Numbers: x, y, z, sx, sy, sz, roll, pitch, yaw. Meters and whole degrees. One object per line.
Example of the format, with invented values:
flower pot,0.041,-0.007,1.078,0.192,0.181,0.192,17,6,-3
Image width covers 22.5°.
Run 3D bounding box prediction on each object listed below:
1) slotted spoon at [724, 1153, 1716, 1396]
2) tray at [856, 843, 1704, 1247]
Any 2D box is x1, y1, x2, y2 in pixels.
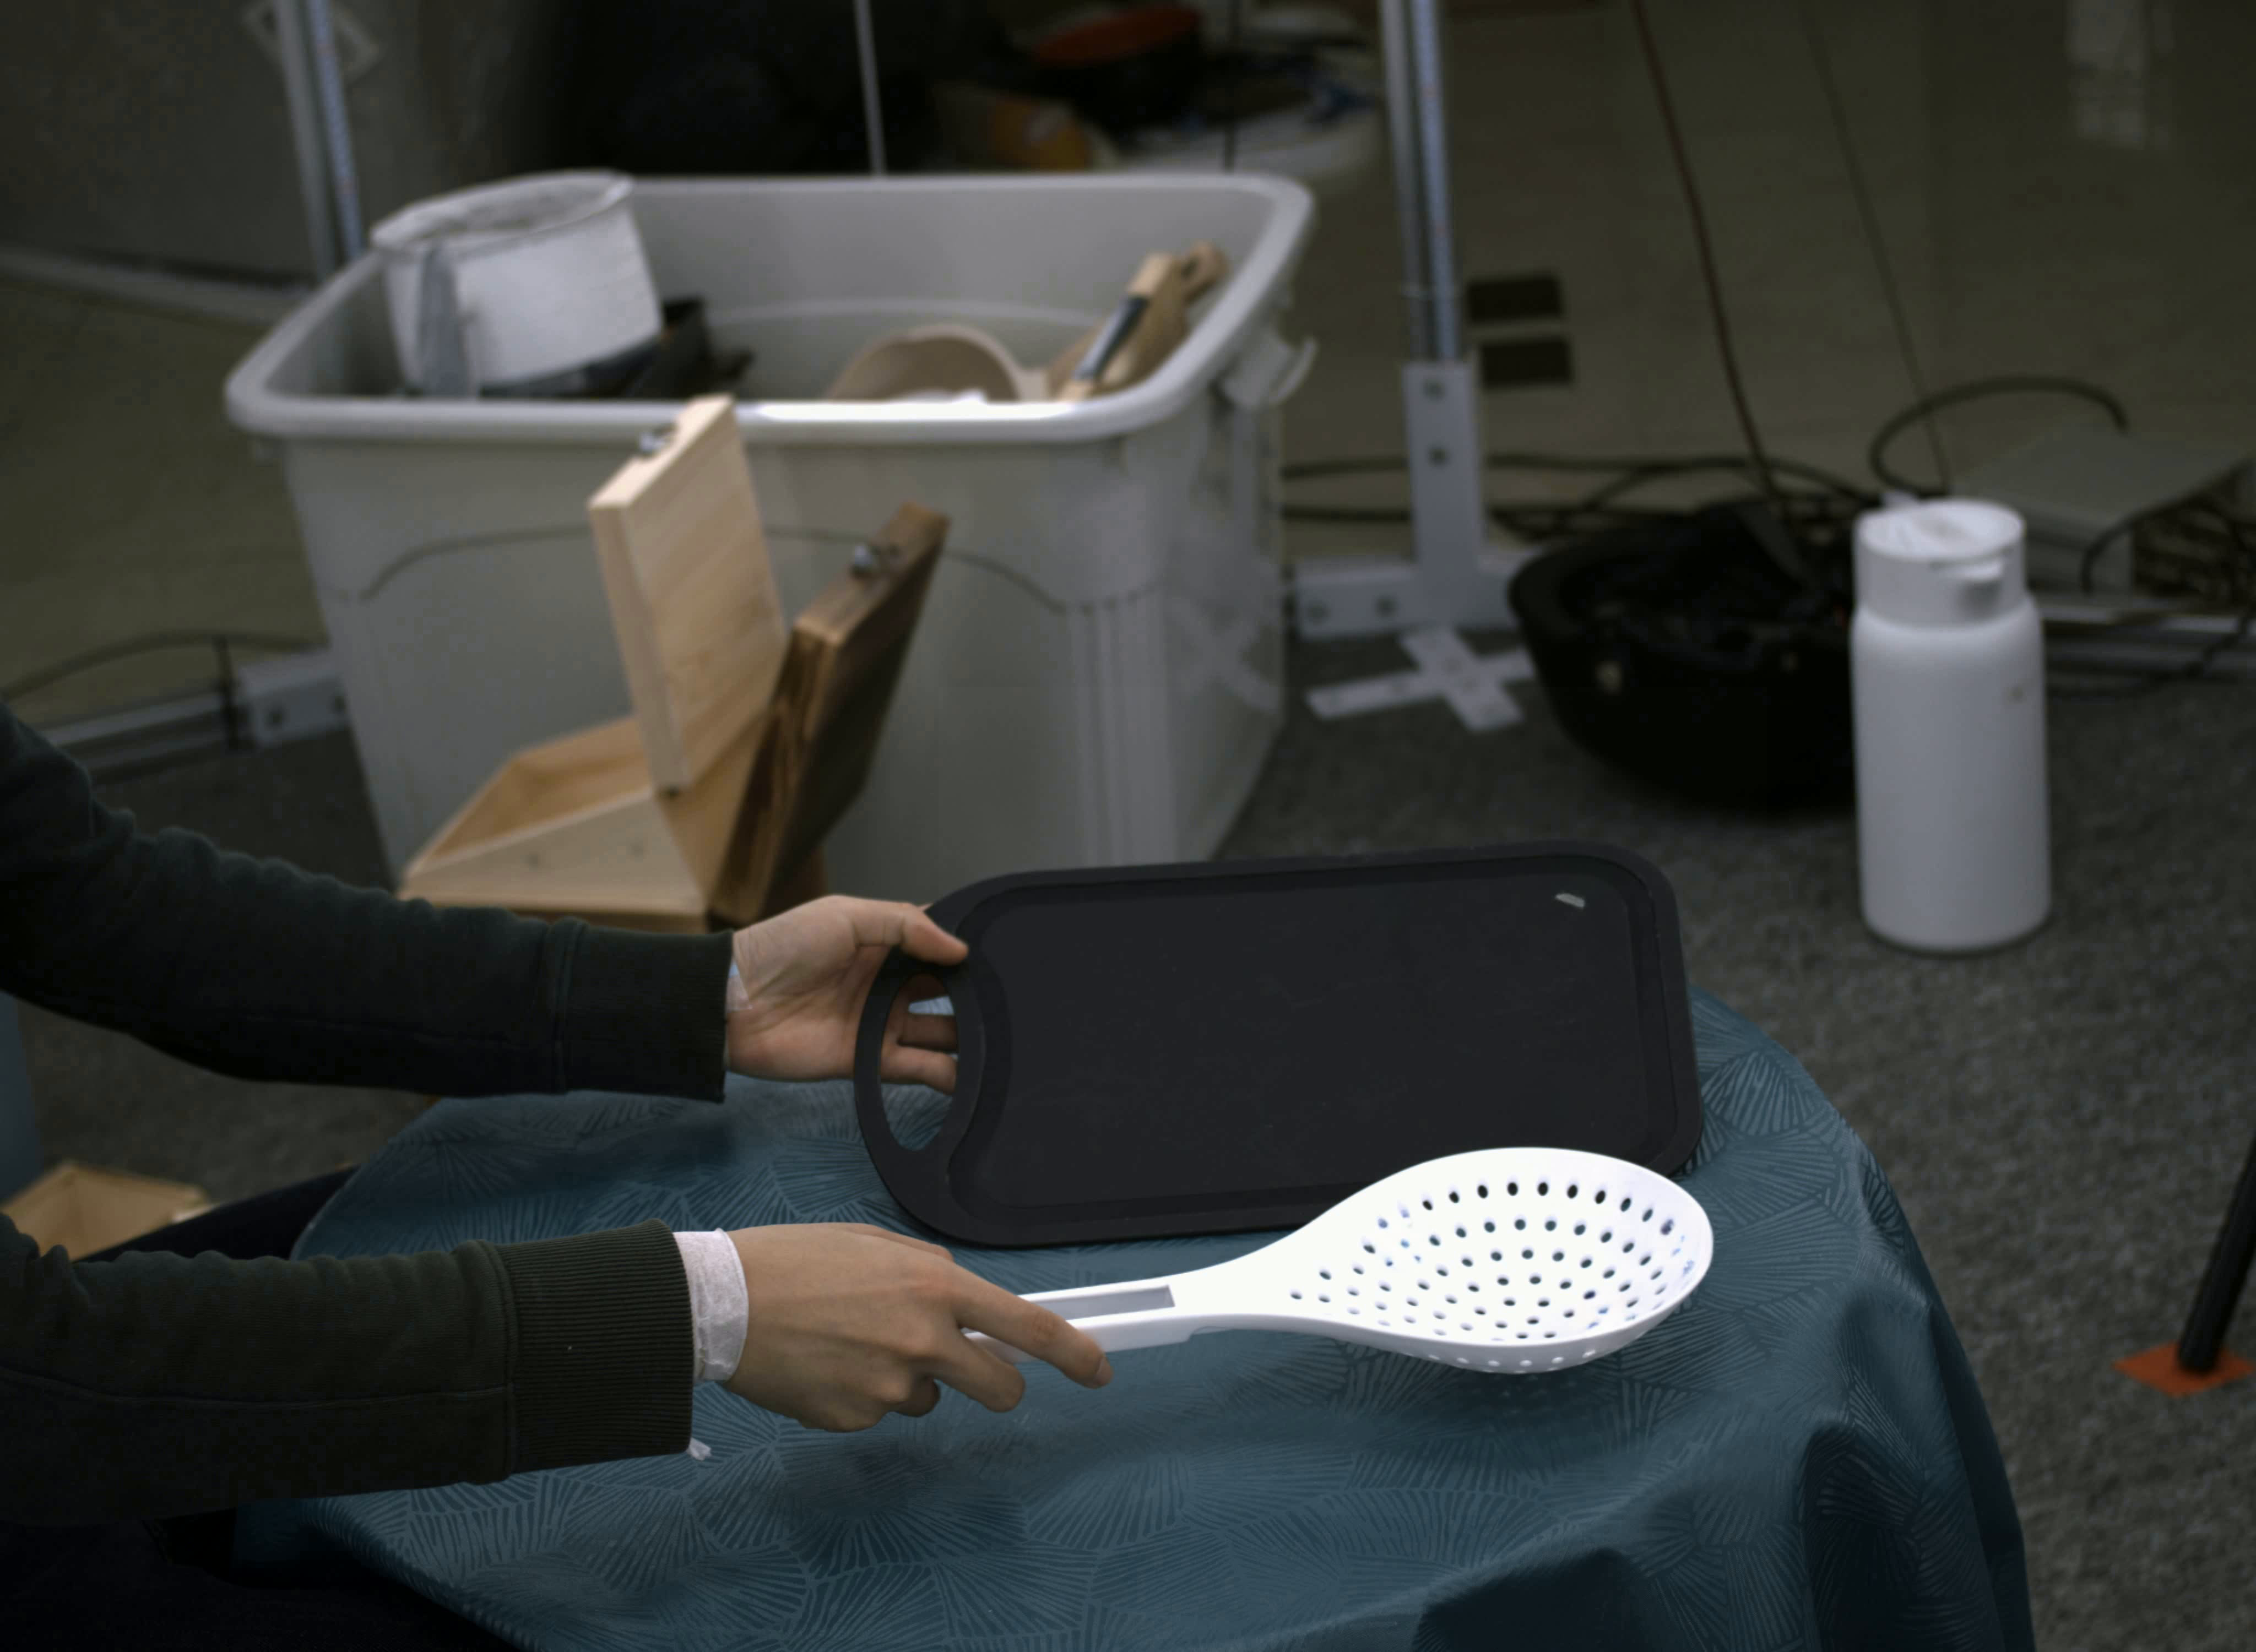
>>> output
slotted spoon,0.033,0.167,1.990,0.349,0.046,0.134,-3,25,-8
tray,0.056,0.082,2.189,0.325,0.010,0.207,-4,40,4
